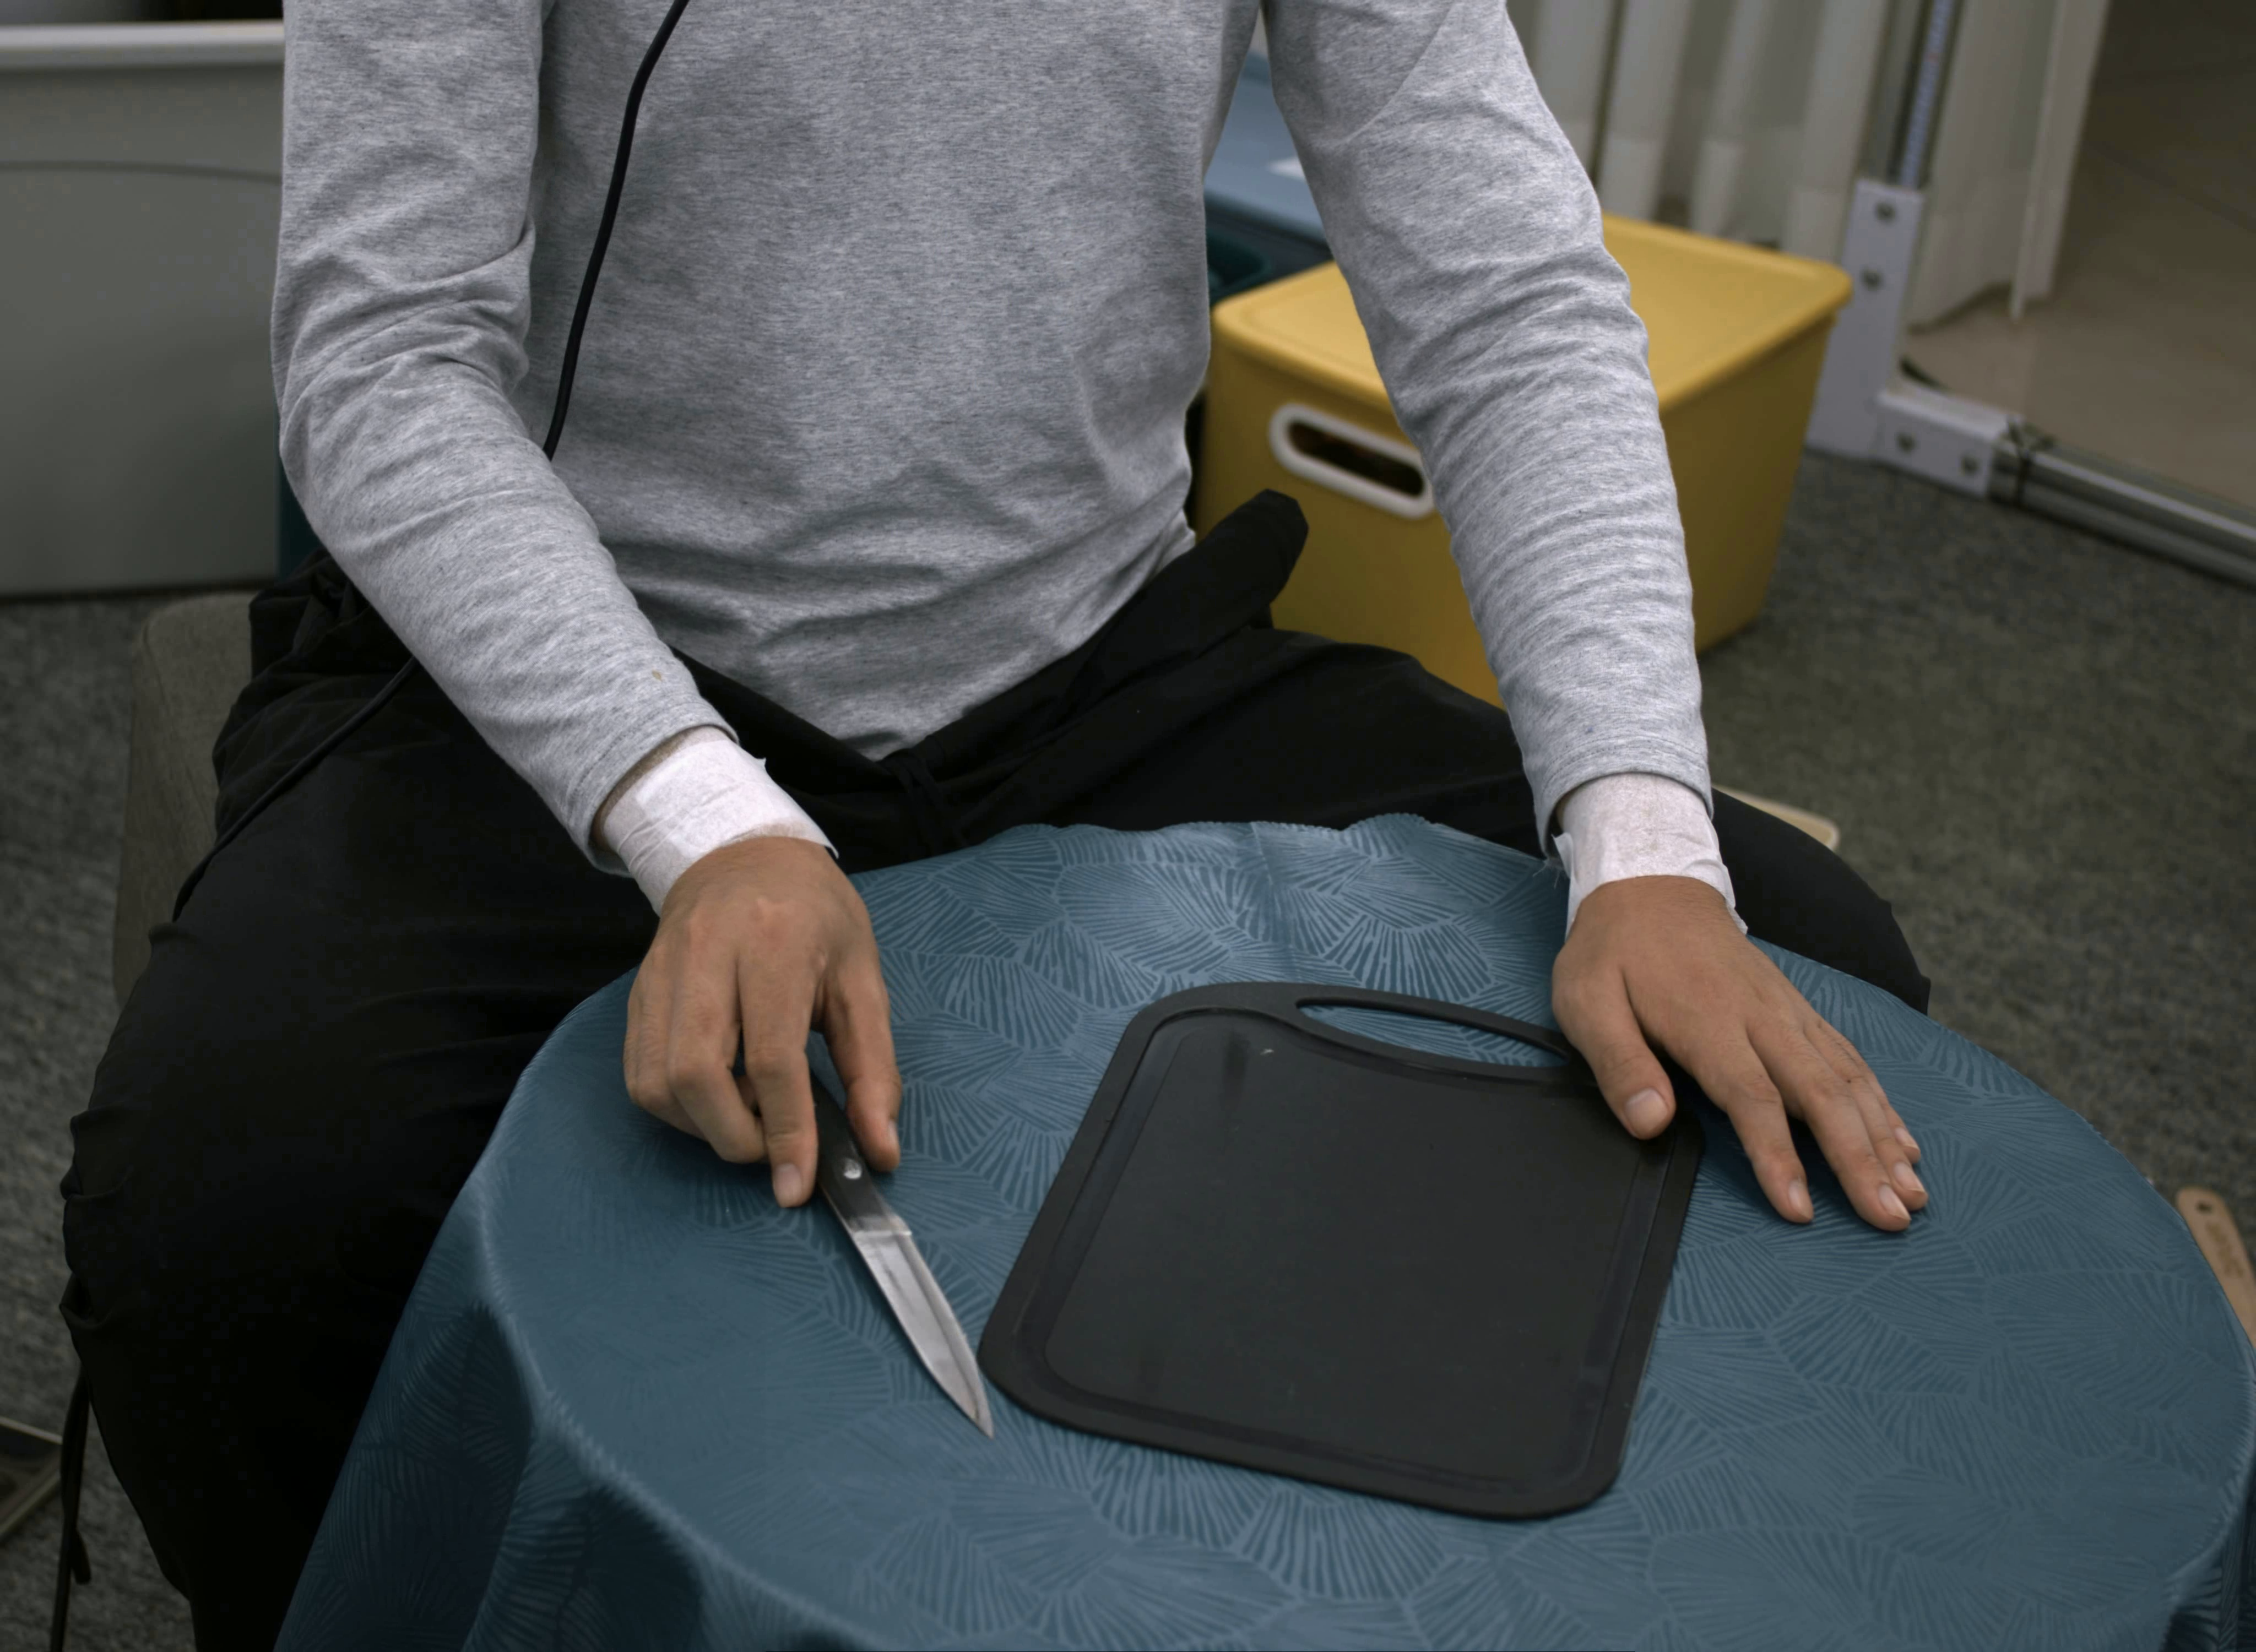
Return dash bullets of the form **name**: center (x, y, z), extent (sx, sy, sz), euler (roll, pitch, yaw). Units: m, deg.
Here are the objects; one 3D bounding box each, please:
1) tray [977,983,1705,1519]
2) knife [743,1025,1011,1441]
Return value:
- **tray**: center (0.079, 0.132, 1.801), extent (0.211, 0.010, 0.326), euler (11, 27, 9)
- **knife**: center (-0.085, 0.133, 1.756), extent (0.024, 0.016, 0.240), euler (-1, 30, -25)
